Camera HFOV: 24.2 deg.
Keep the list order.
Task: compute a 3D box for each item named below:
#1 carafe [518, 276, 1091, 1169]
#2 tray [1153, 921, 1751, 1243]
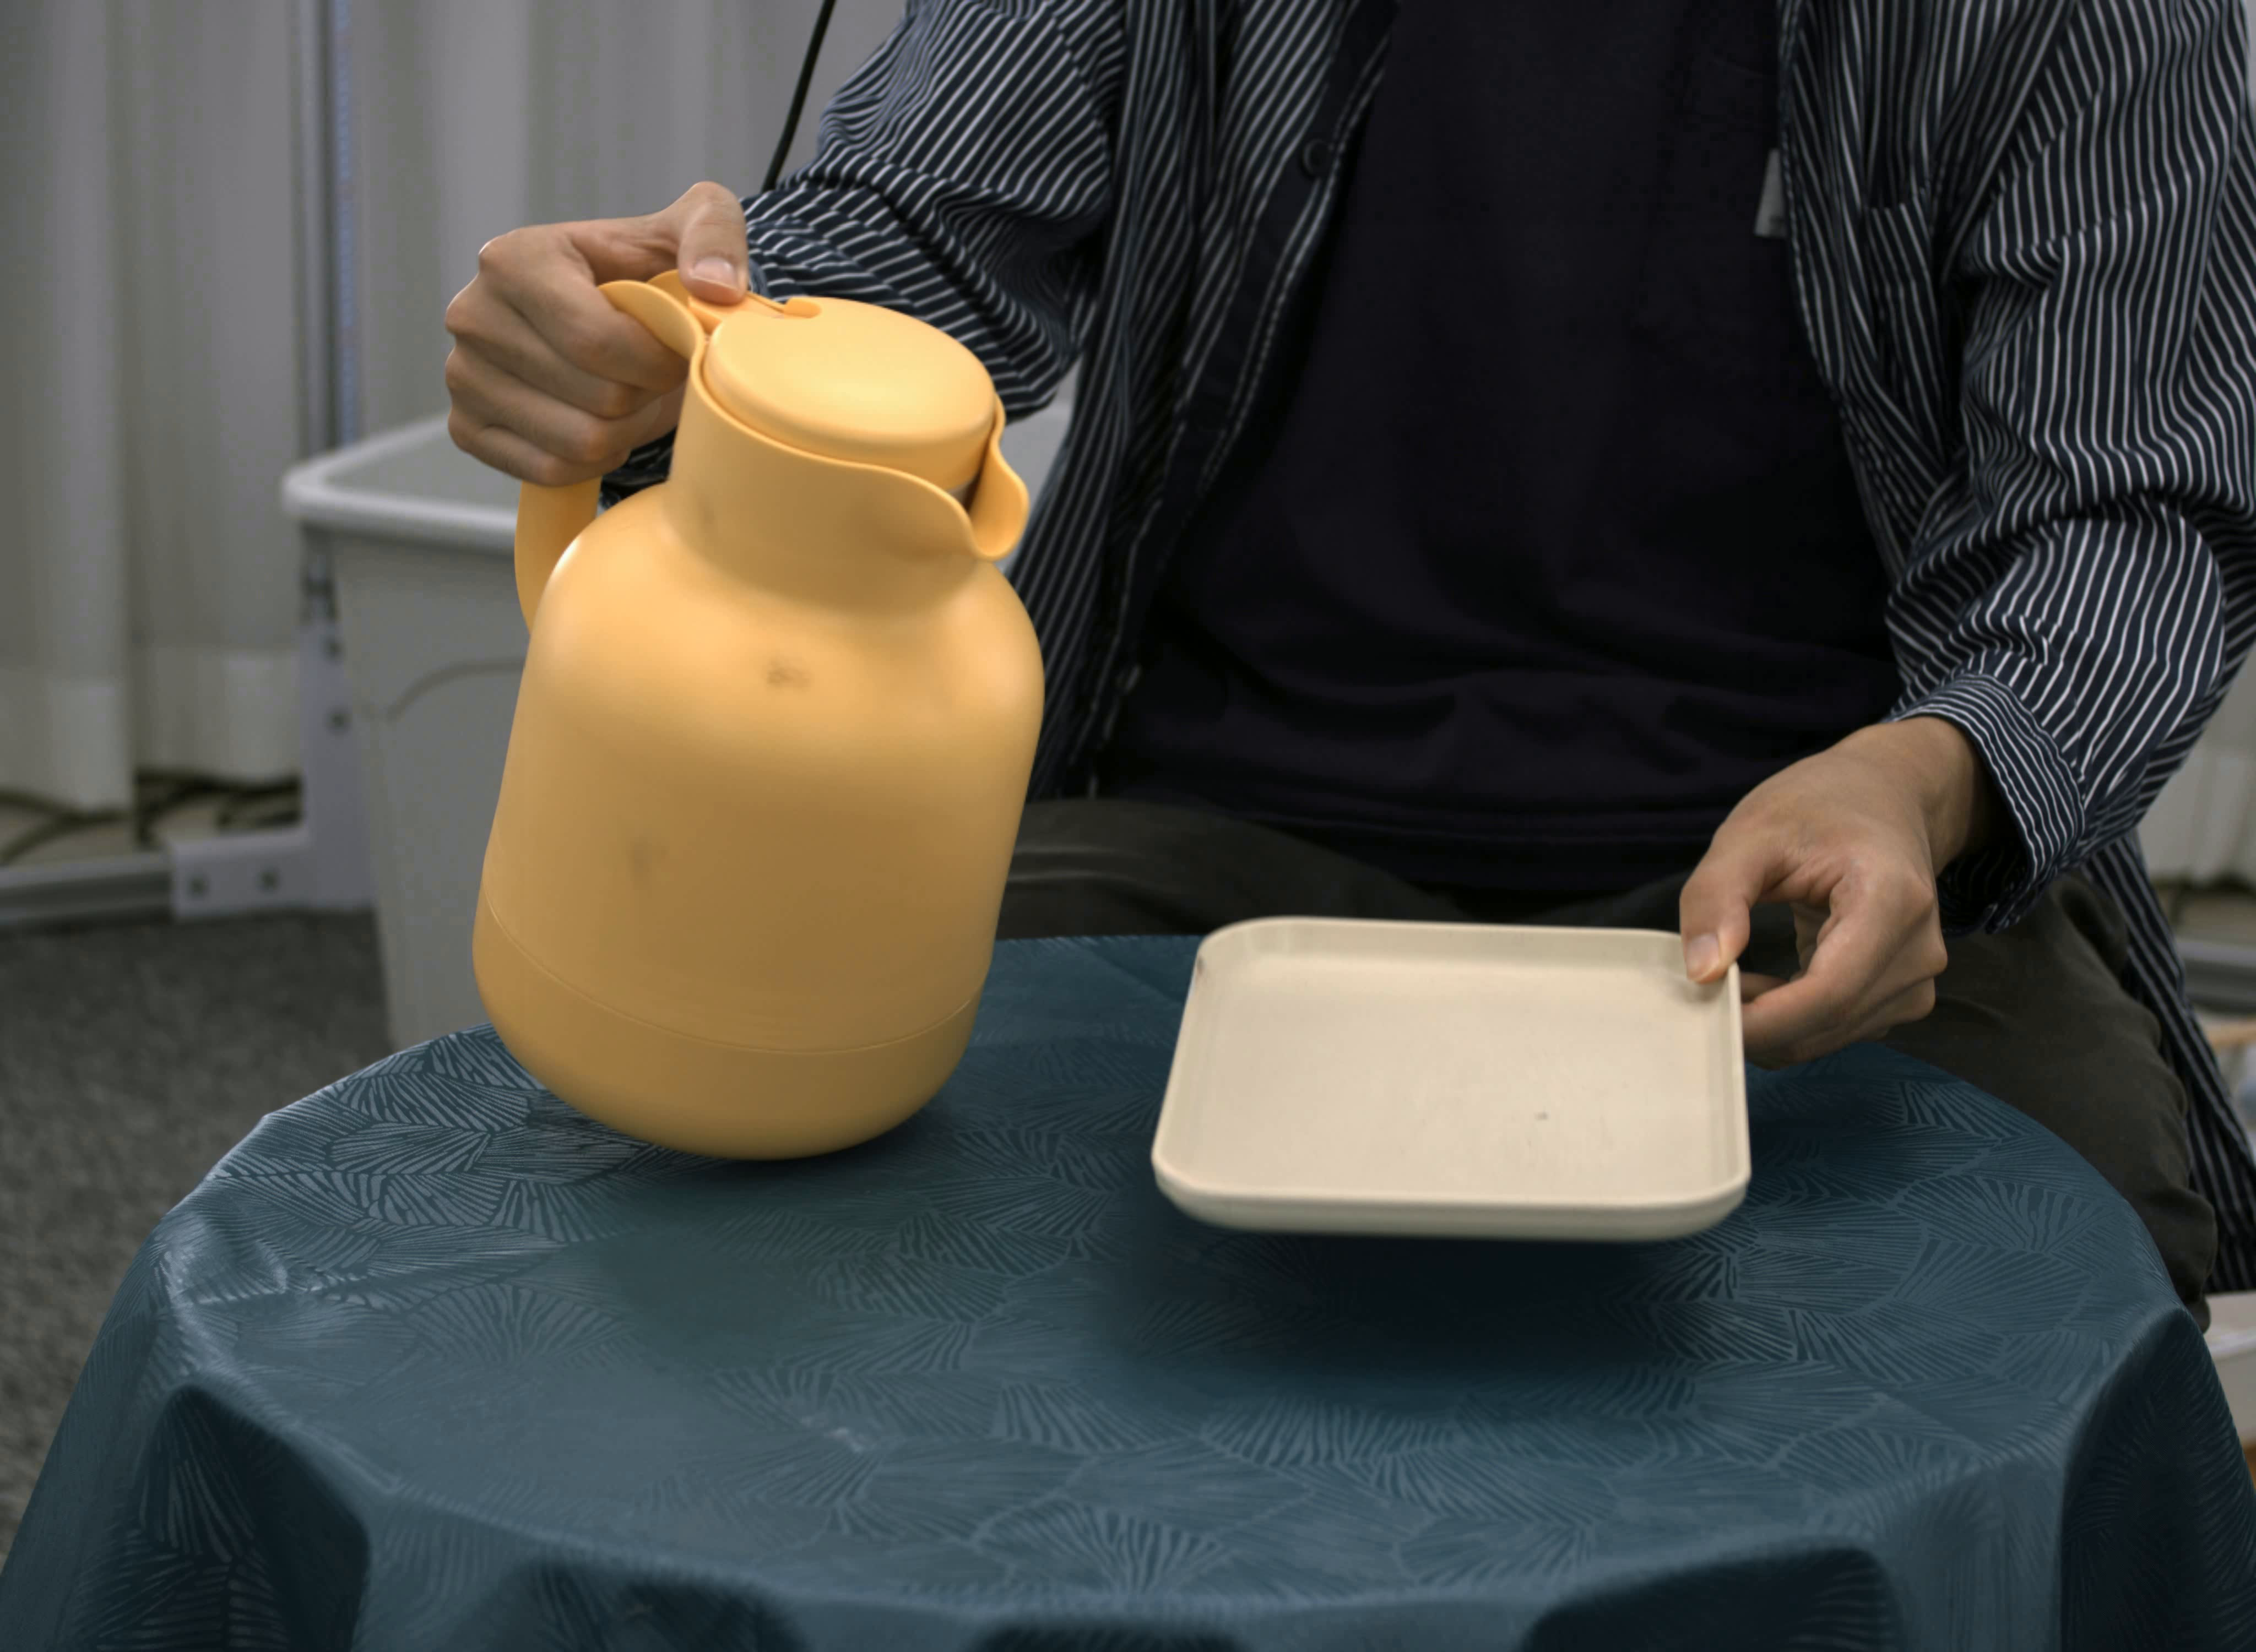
[{"bbox_3d":[-0.106,-0.042,1.645,0.200,0.262,0.164,35,35,31],"label":"carafe"},{"bbox_3d":[0.098,0.075,1.573,0.170,0.017,0.238,2,17,4],"label":"tray"}]
